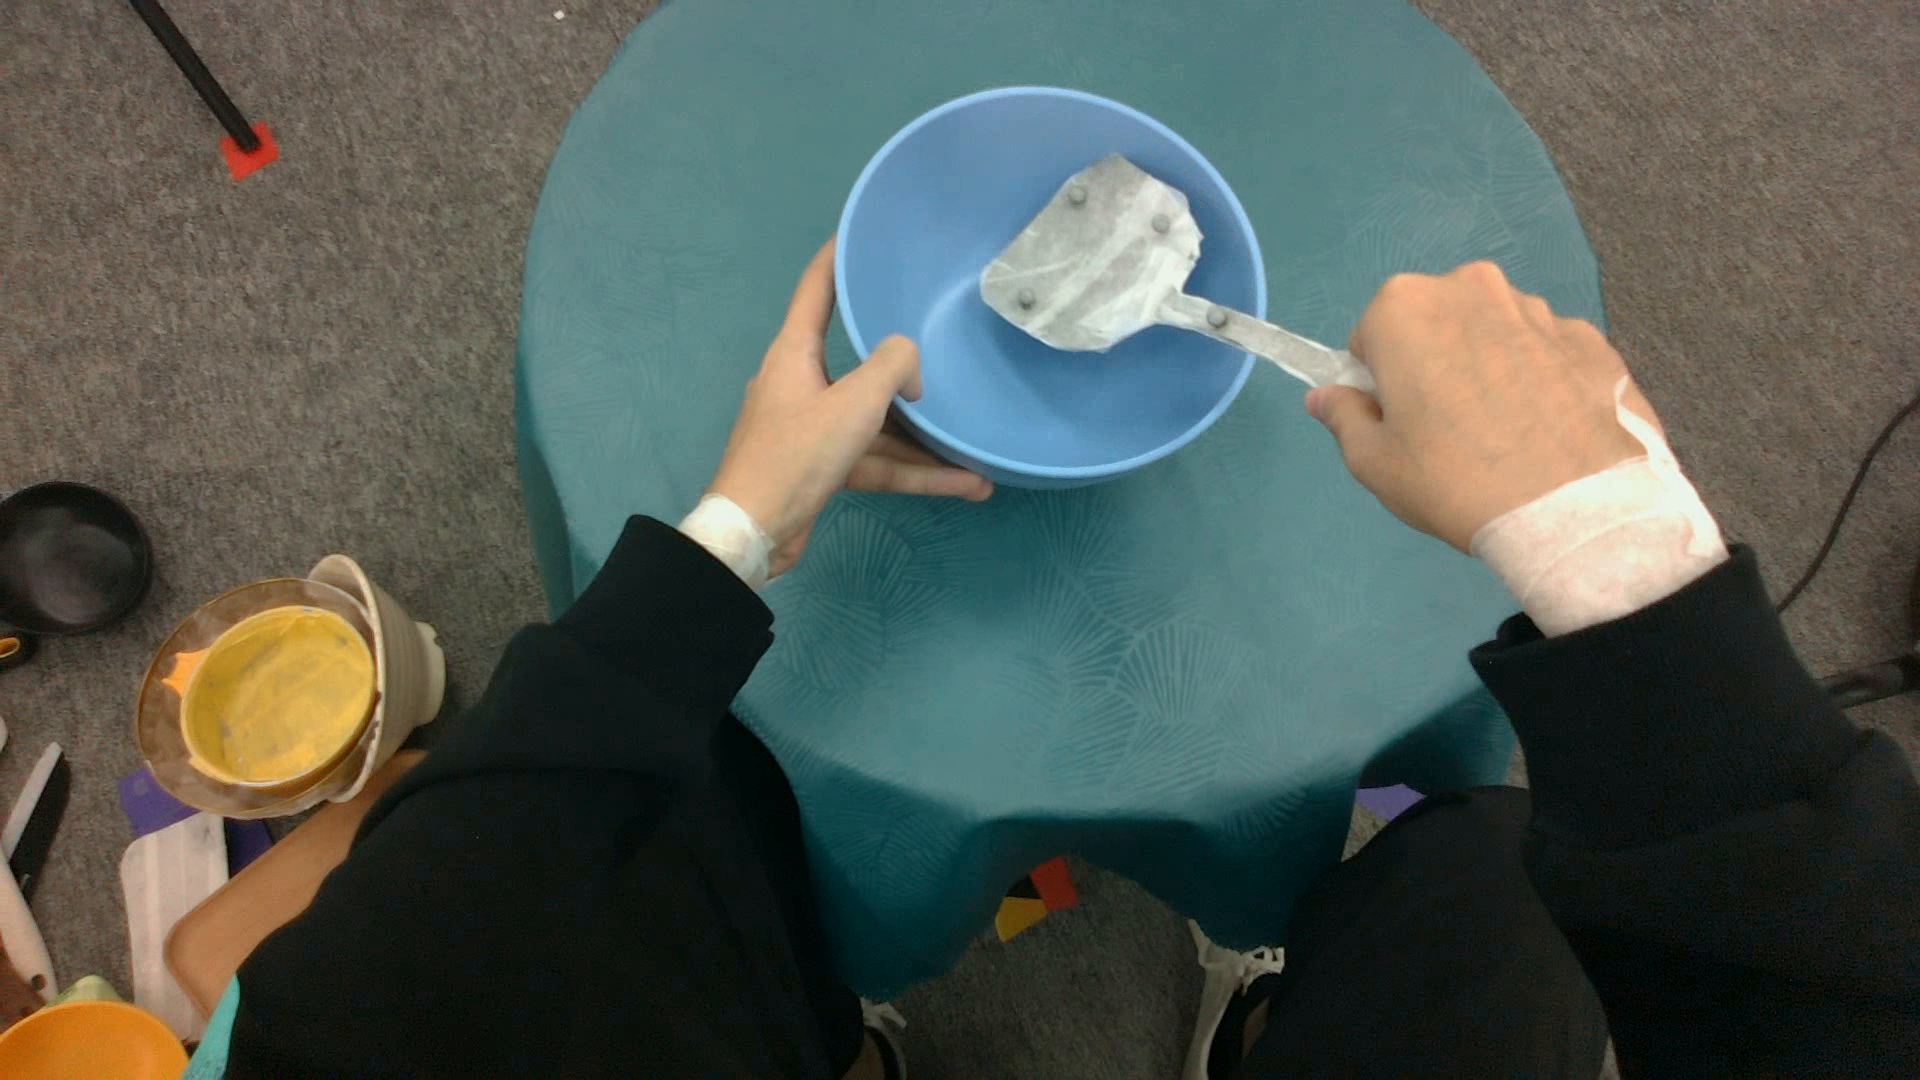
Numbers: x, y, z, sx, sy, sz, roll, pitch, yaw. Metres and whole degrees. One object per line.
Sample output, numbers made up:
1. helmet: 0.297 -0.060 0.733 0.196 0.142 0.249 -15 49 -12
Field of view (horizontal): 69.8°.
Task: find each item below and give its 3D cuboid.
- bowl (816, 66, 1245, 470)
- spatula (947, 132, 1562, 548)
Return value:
1. bowl: 0.027 -0.115 0.660 0.196 0.095 0.197 3 72 -8
2. spatula: 0.102 -0.090 0.546 0.099 0.045 0.365 -44 33 0
